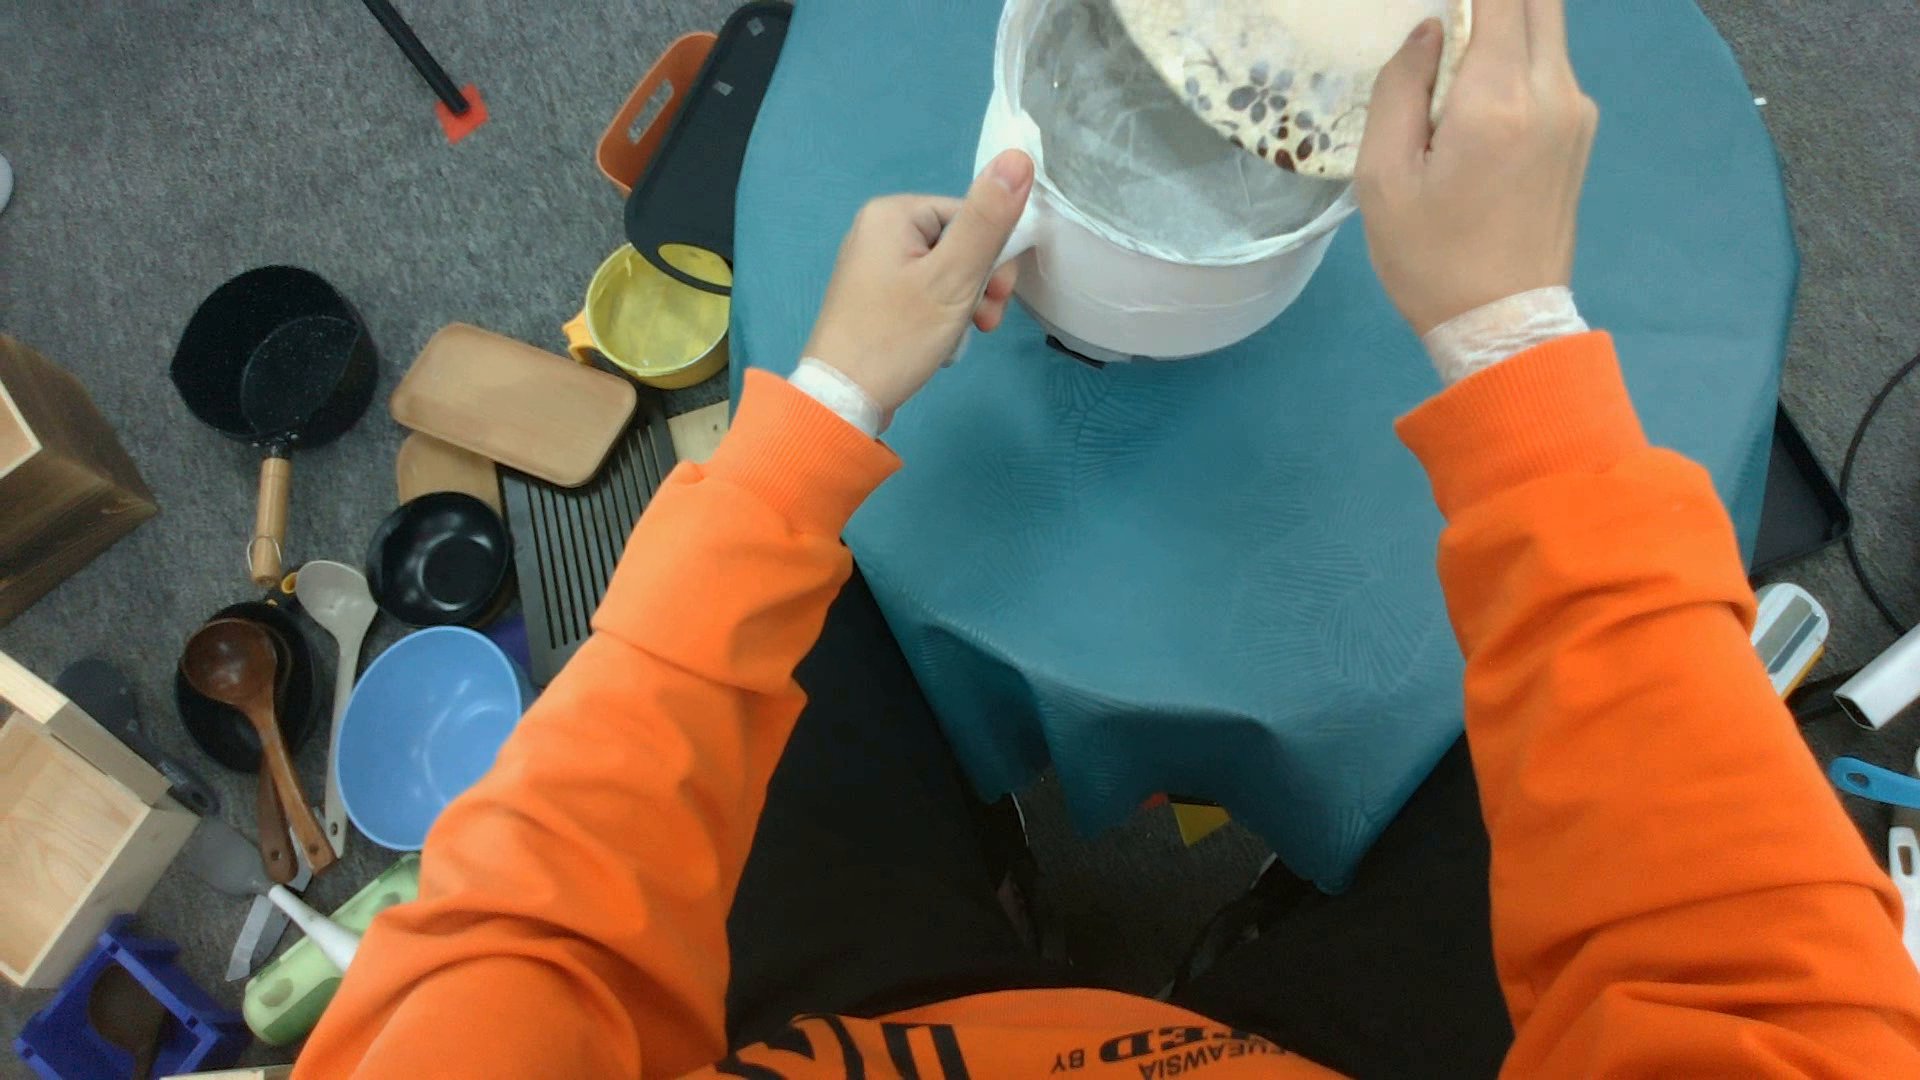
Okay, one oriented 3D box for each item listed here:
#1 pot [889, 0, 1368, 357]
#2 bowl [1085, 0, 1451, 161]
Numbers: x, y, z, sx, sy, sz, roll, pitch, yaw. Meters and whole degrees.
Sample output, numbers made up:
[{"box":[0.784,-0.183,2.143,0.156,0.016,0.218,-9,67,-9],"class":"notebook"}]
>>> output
[{"box":[0.070,-0.173,0.647,0.234,0.136,0.179,-36,79,-13],"class":"pot"},{"box":[0.123,-0.254,0.538,0.204,0.203,0.078,40,77,15],"class":"bowl"}]
